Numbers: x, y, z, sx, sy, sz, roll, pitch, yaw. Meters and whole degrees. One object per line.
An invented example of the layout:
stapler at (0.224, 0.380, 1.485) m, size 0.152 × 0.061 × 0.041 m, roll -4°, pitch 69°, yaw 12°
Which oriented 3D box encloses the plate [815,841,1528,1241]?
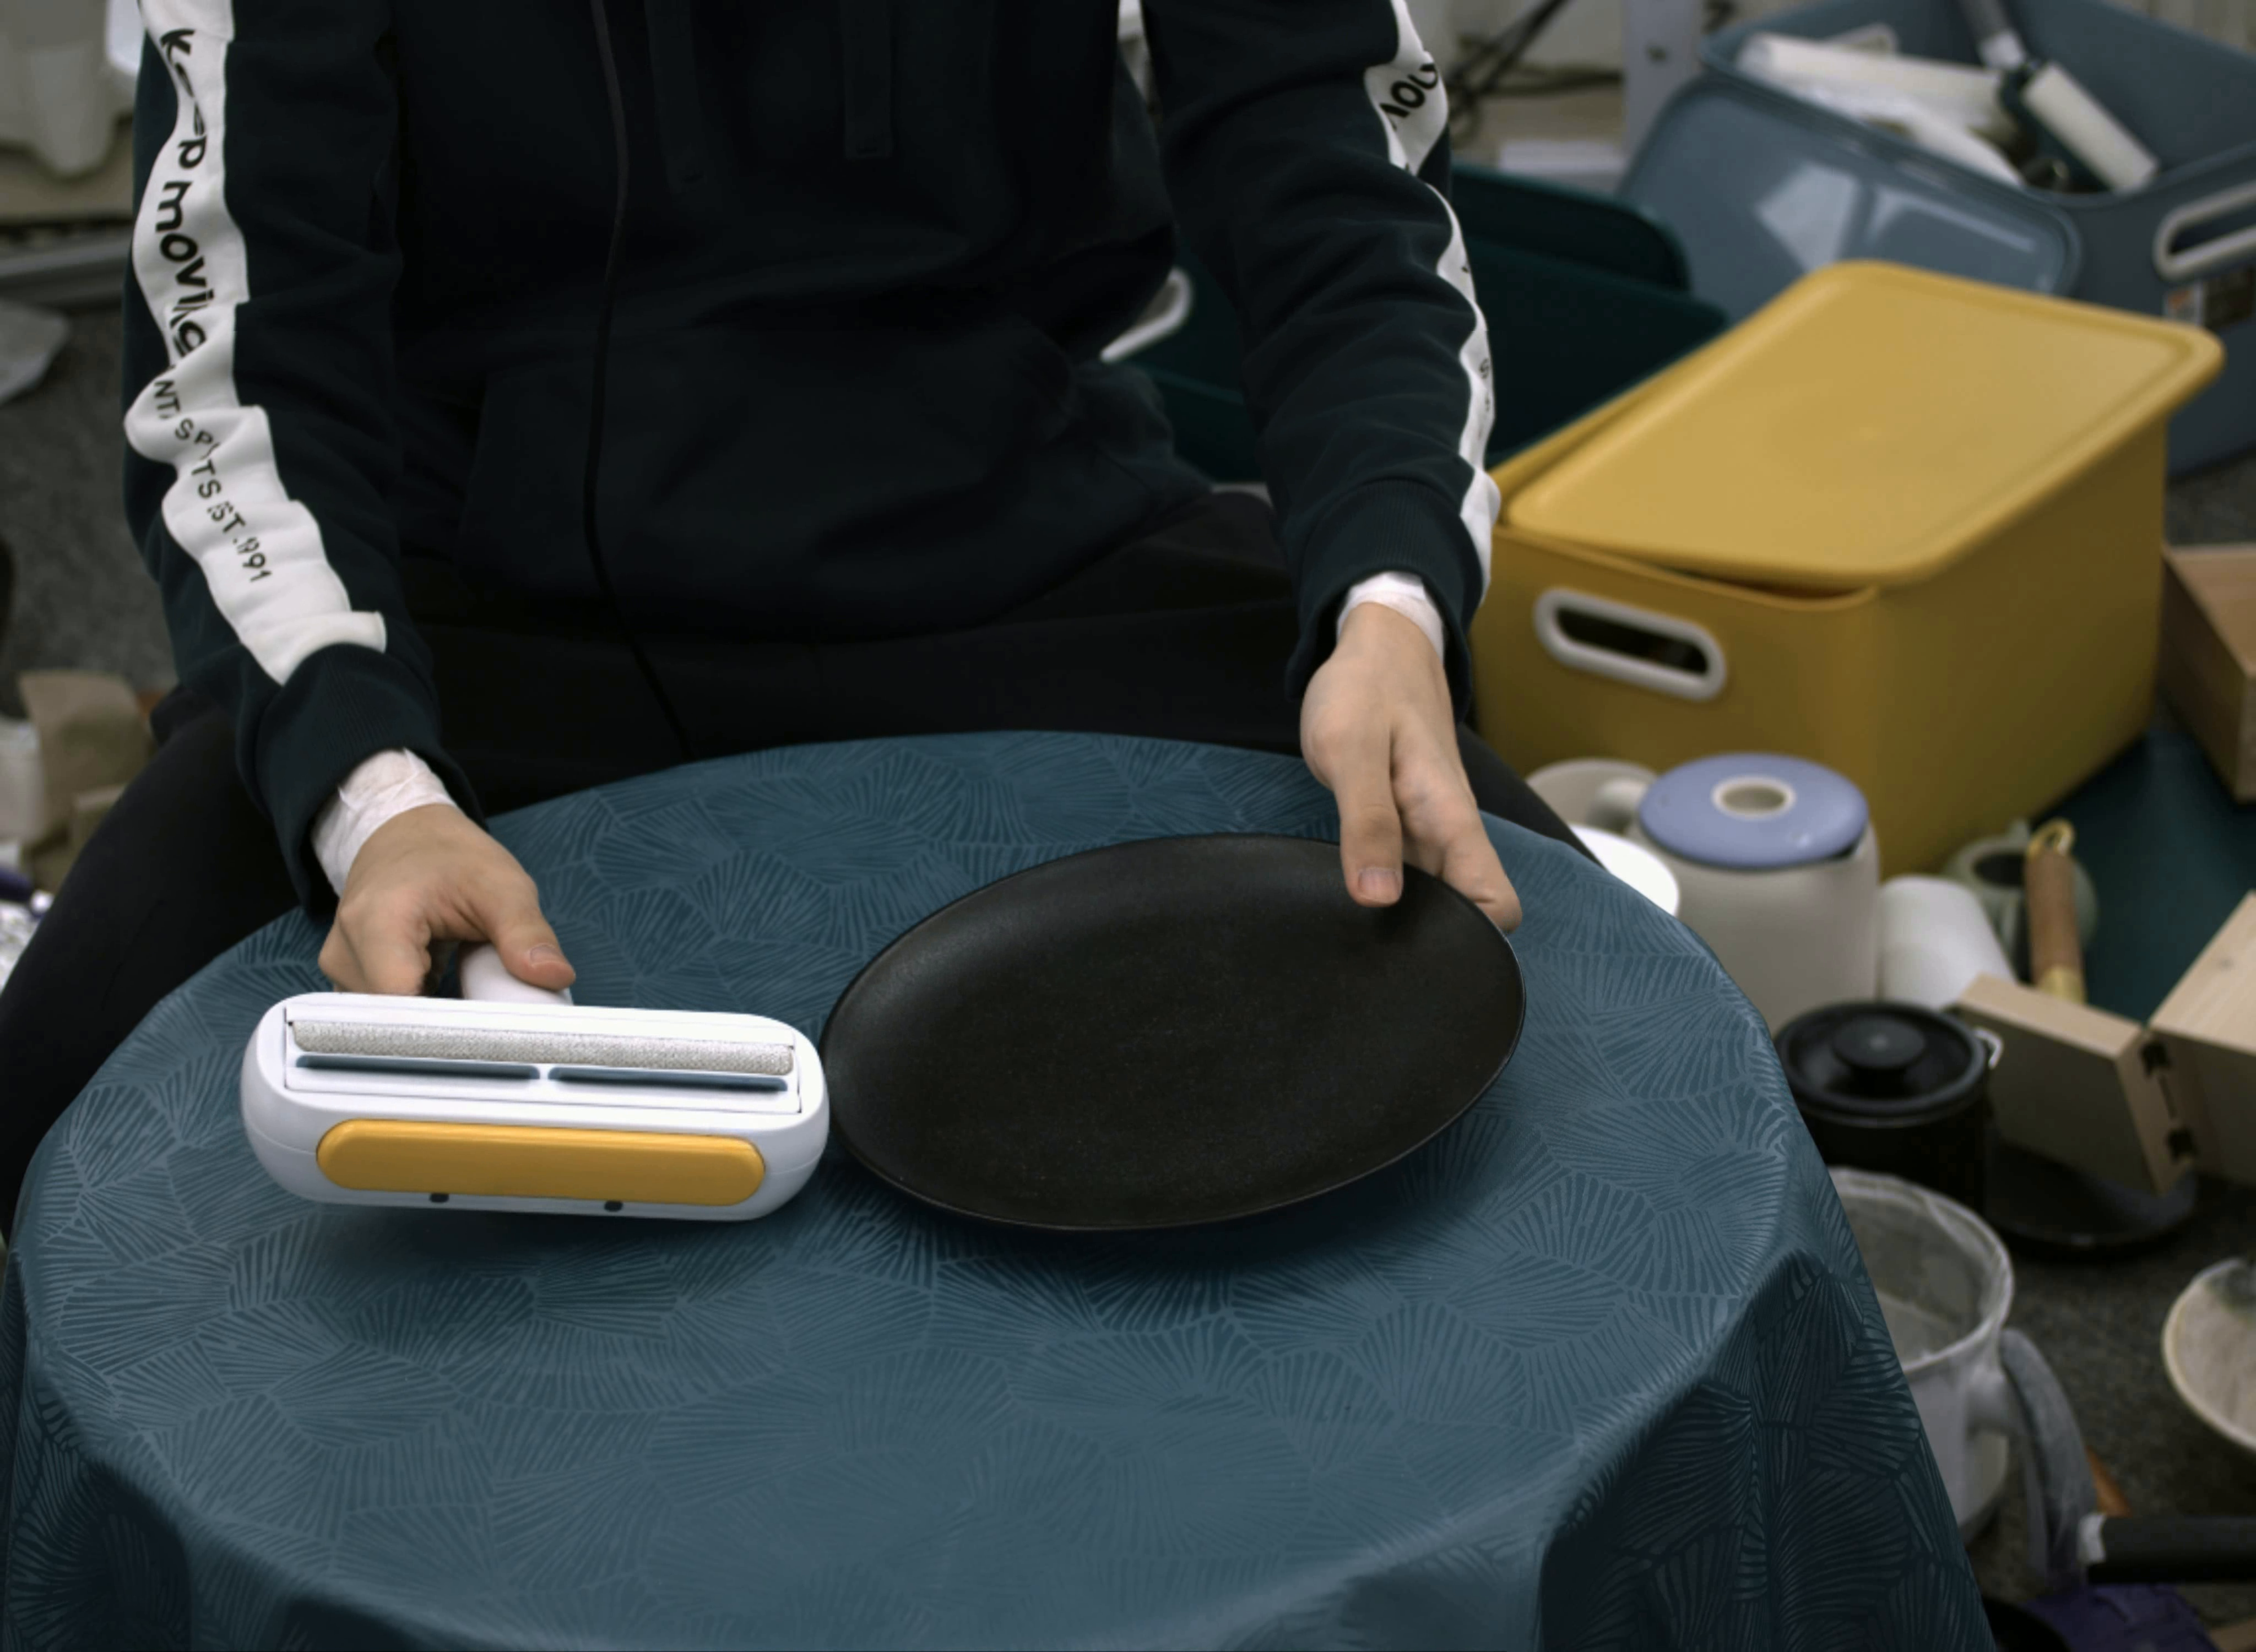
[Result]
plate at (0.015, 0.076, 1.906) m, size 0.243 × 0.023 × 0.248 m, roll -5°, pitch 30°, yaw 3°

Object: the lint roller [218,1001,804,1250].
lint roller at (-0.207, 0.090, 1.904) m, size 0.192 × 0.074 × 0.194 m, roll 4°, pitch 15°, yaw -6°
